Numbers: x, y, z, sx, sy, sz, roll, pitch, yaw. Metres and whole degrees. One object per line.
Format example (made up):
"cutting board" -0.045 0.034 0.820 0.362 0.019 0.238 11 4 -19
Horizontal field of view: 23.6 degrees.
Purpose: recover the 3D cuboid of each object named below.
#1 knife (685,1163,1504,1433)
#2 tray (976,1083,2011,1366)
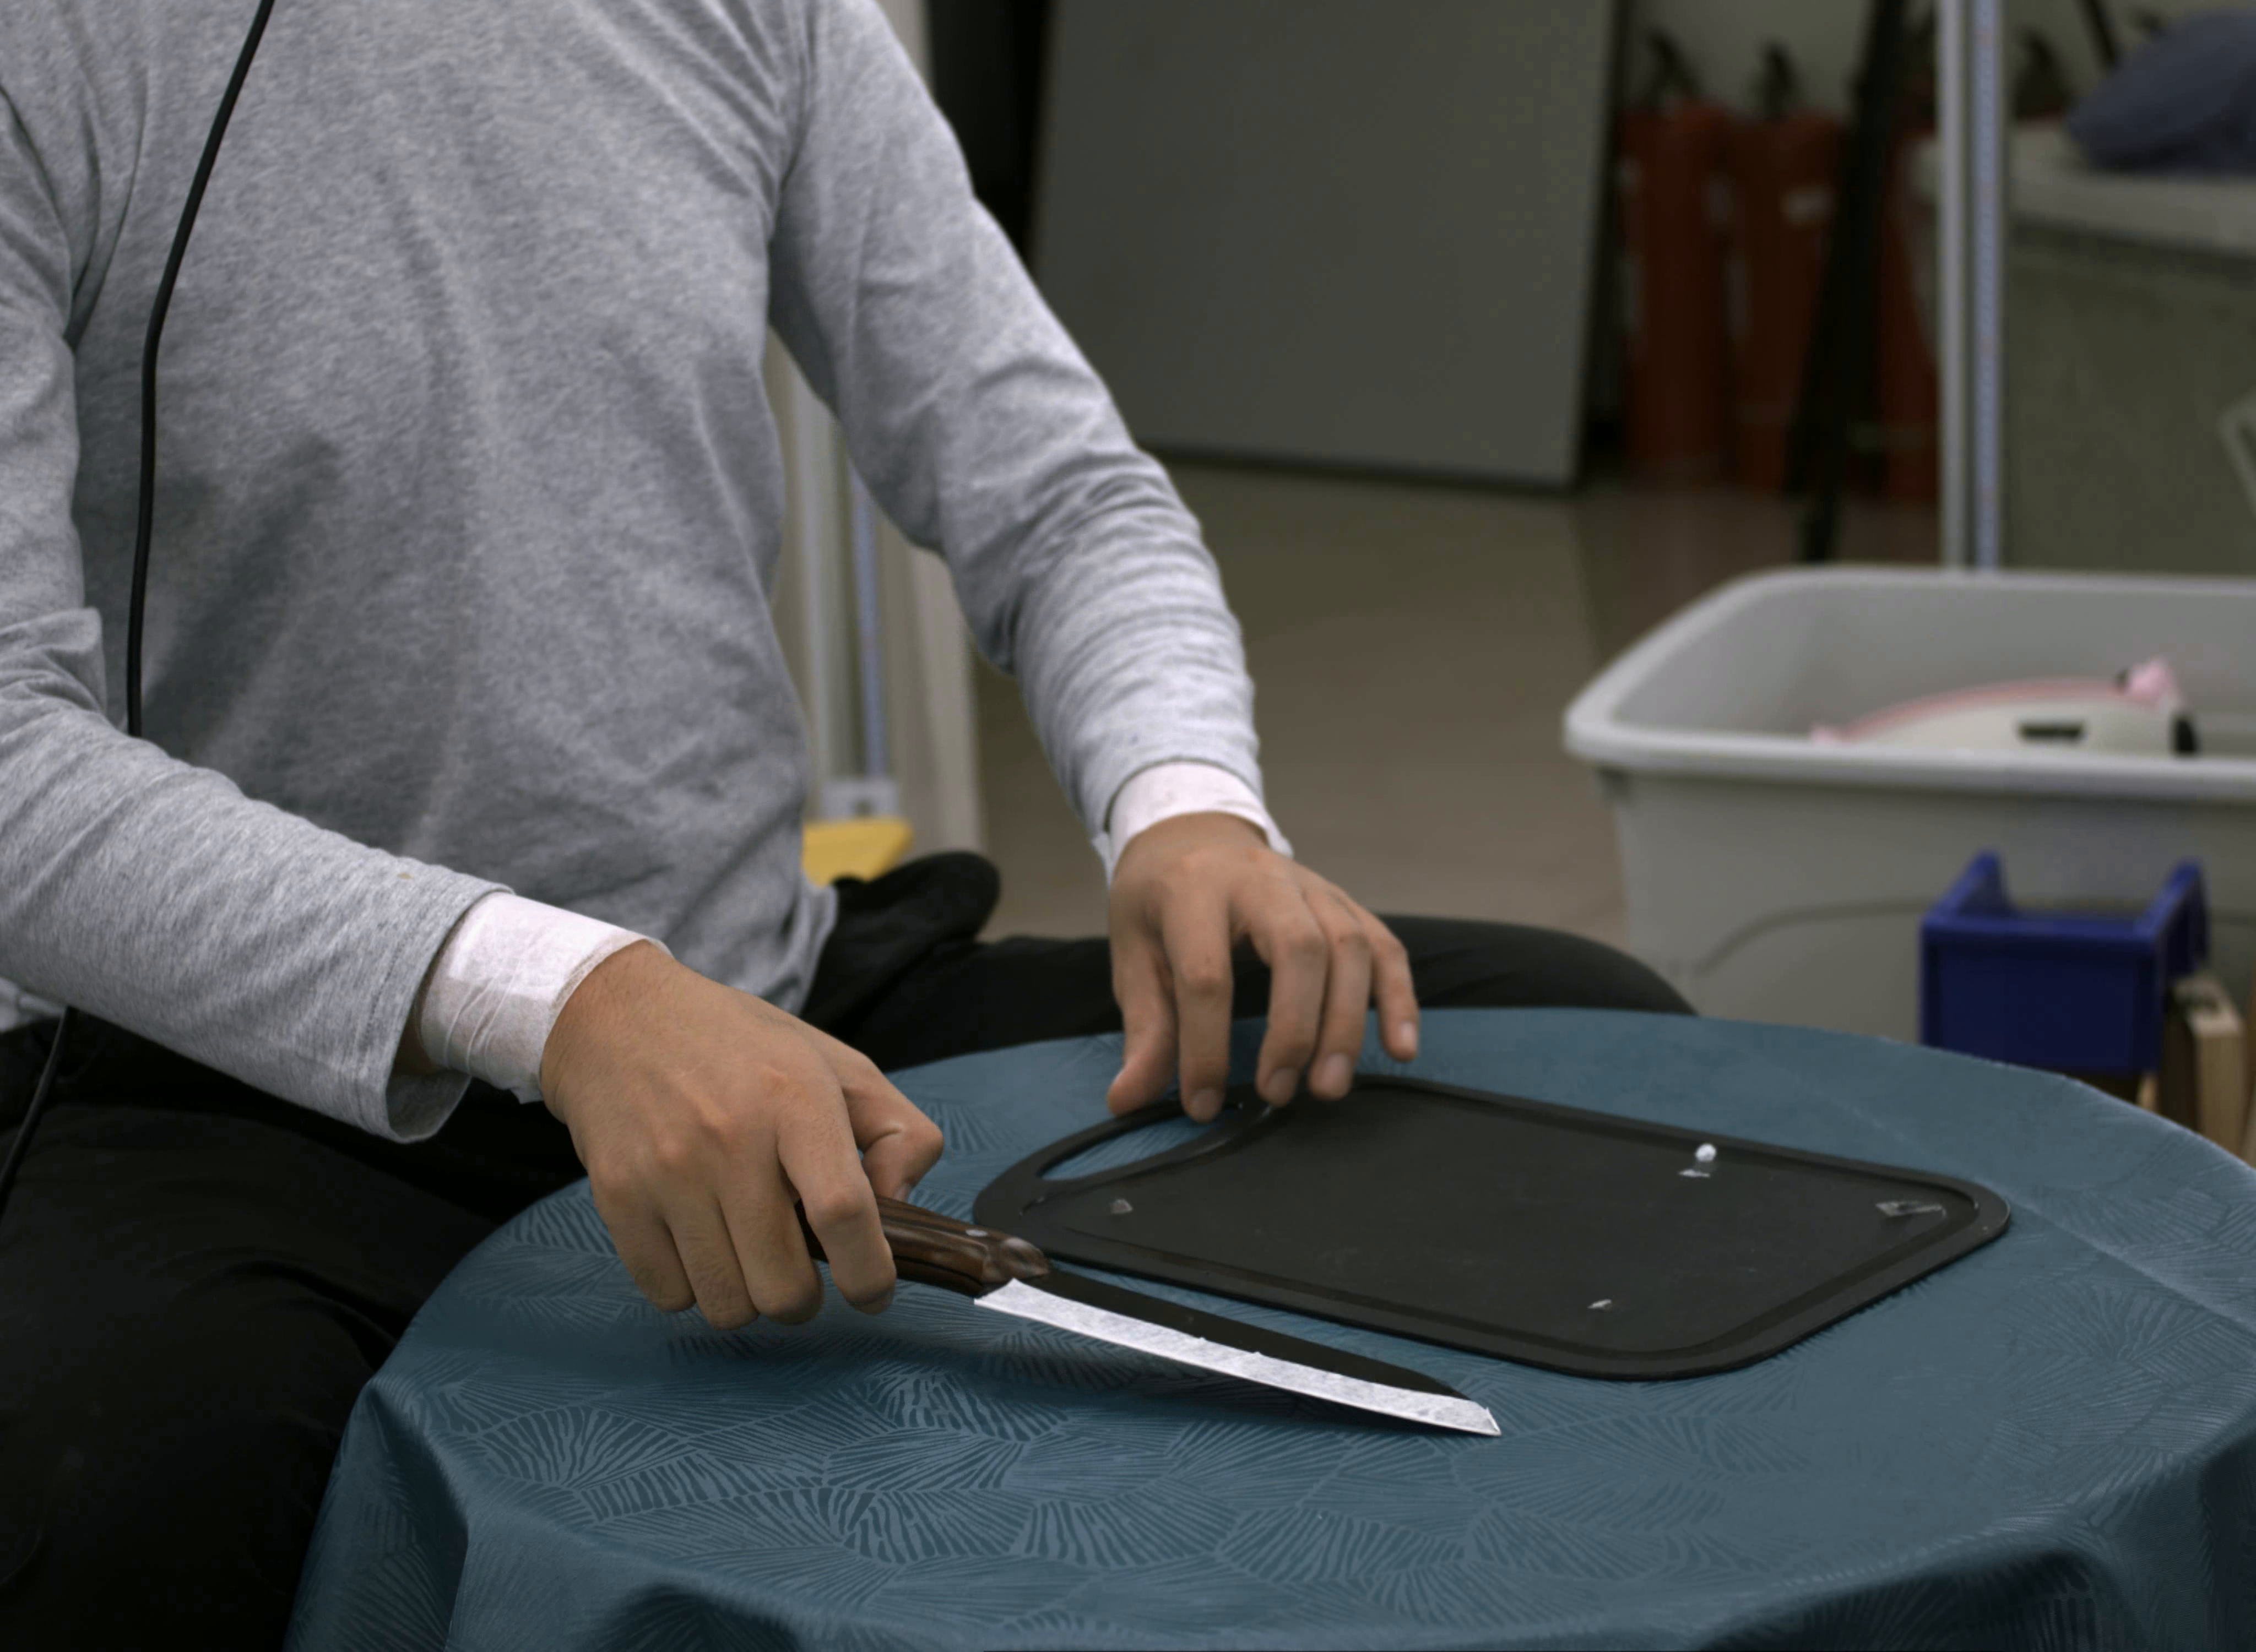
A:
"knife" -0.015 0.142 1.603 0.290 0.020 0.049 13 18 29
"tray" 0.107 0.122 1.727 0.328 0.010 0.207 8 18 42
